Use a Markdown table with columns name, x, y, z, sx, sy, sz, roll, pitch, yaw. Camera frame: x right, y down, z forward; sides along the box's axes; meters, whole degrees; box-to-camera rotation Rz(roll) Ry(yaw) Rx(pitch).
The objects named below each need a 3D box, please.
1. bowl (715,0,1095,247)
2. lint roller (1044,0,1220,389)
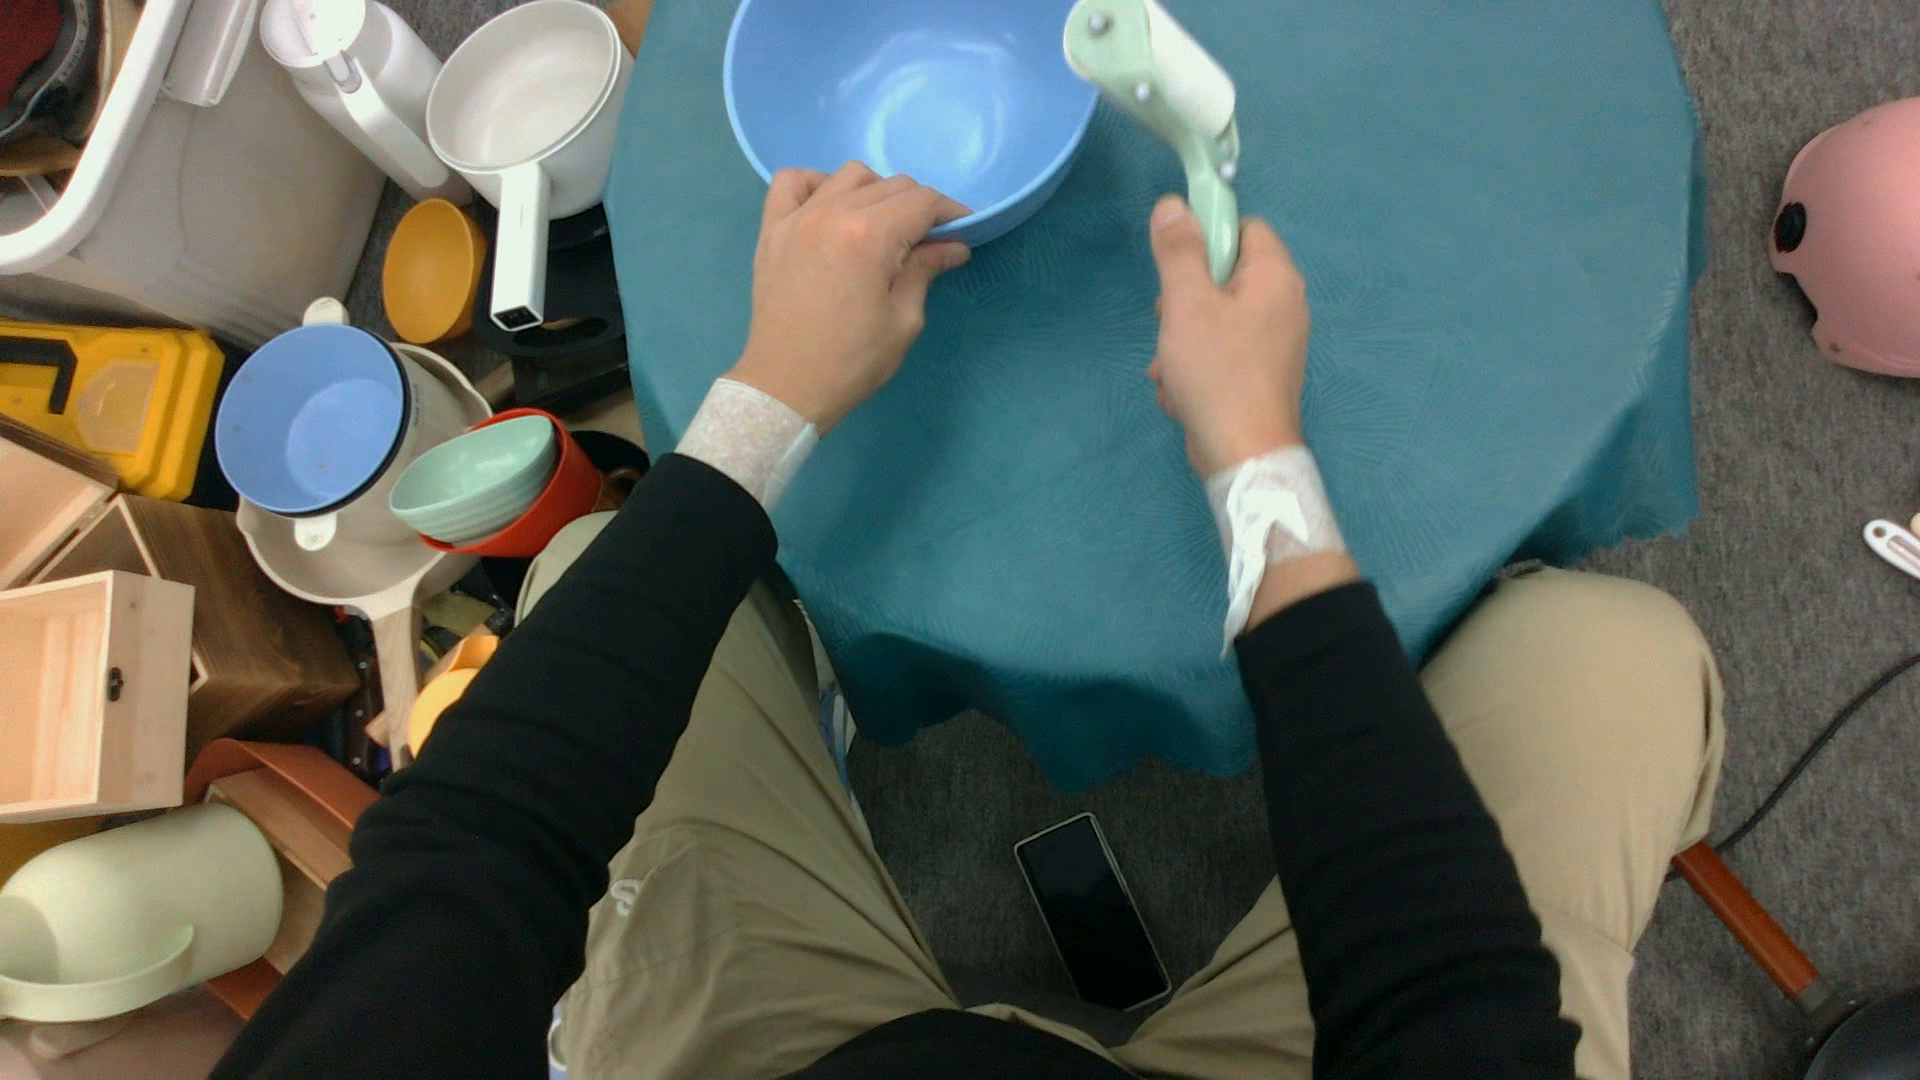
| name | x | y | z | sx | sy | sz | roll | pitch | yaw |
| --- | --- | --- | --- | --- | --- | --- | --- | --- | --- |
| bowl | -0.023 | -0.240 | 0.741 | 0.196 | 0.095 | 0.197 | -1 | 80 | 7 |
| lint roller | 0.096 | -0.169 | 0.649 | 0.048 | 0.117 | 0.198 | -17 | 77 | 28 |
